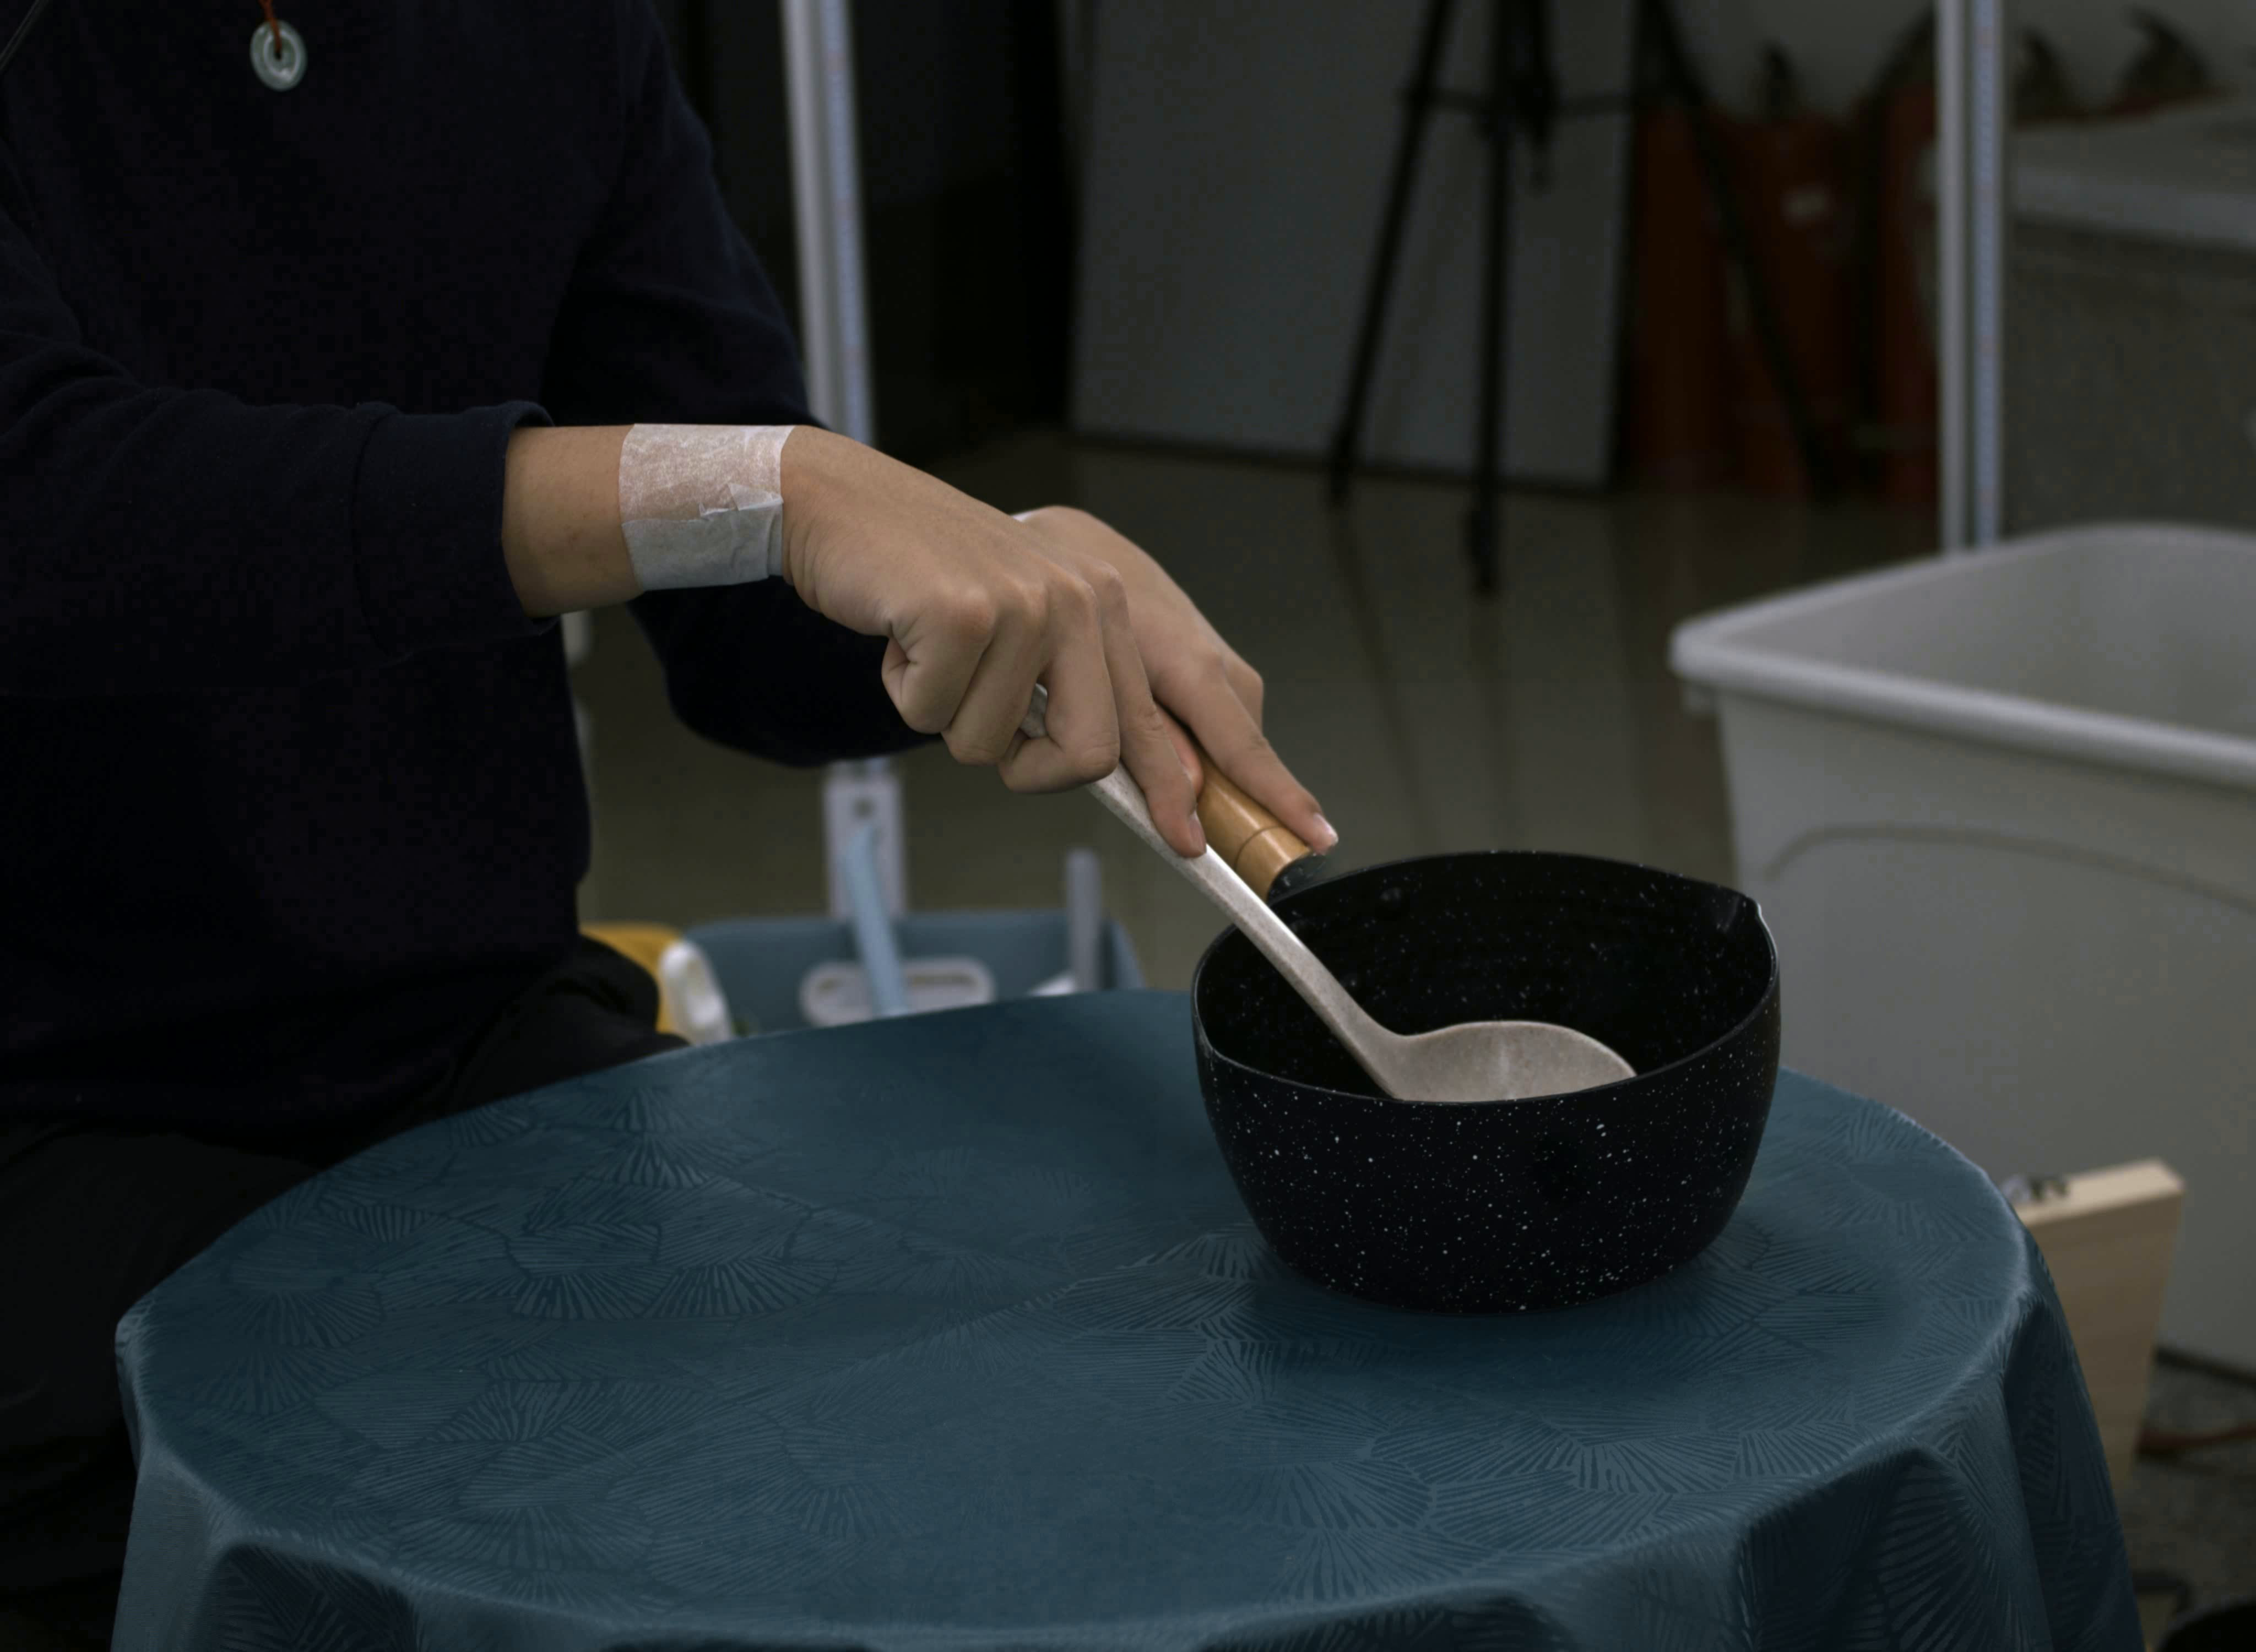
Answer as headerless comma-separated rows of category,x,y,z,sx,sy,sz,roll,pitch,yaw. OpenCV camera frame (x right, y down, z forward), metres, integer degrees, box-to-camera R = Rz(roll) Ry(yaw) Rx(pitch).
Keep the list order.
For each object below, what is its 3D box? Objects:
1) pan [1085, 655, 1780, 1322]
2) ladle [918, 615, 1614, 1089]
pan,0.074,0.046,1.742,0.203,0.109,0.347,-18,27,-23
ladle,0.050,0.015,1.649,0.070,0.272,0.089,-32,24,28
